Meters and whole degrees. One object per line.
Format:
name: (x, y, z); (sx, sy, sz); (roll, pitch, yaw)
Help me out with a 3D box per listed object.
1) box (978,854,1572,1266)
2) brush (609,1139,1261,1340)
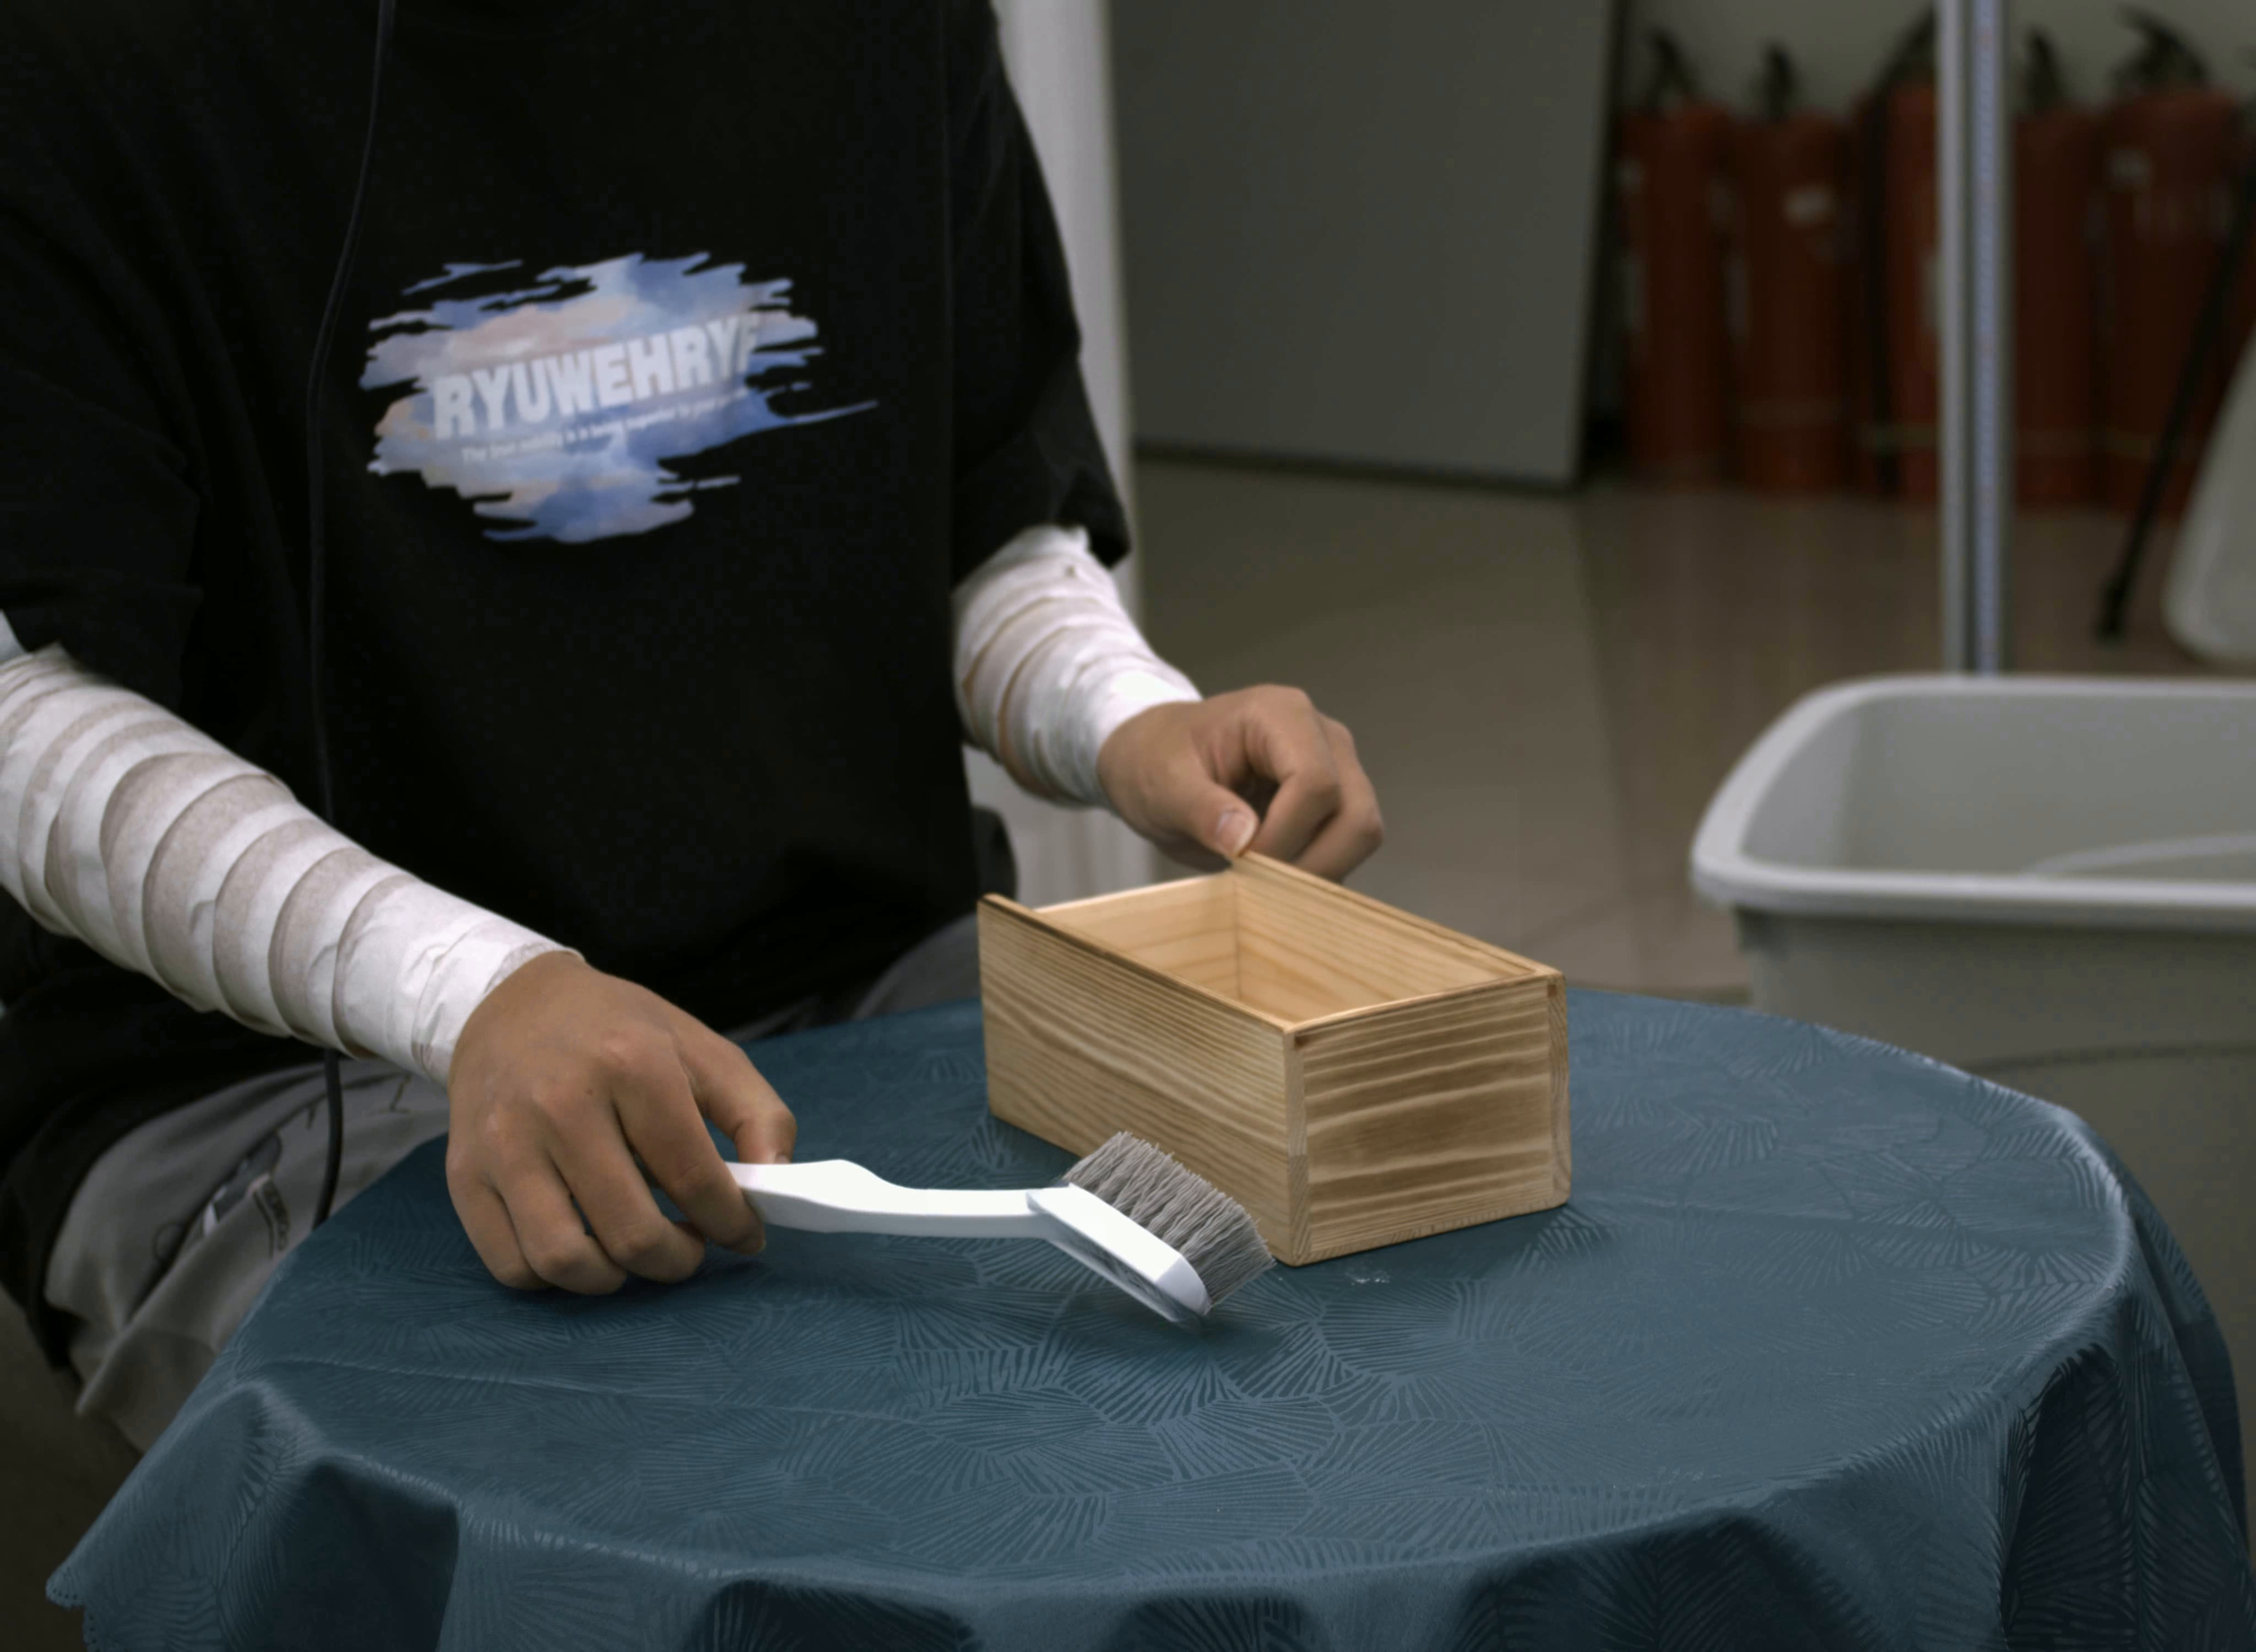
box: (0.046, 0.074, 1.786); (0.105, 0.081, 0.213); (-11, 14, -27)
brush: (-0.062, 0.112, 1.691); (0.245, 0.034, 0.050); (10, 56, 38)
